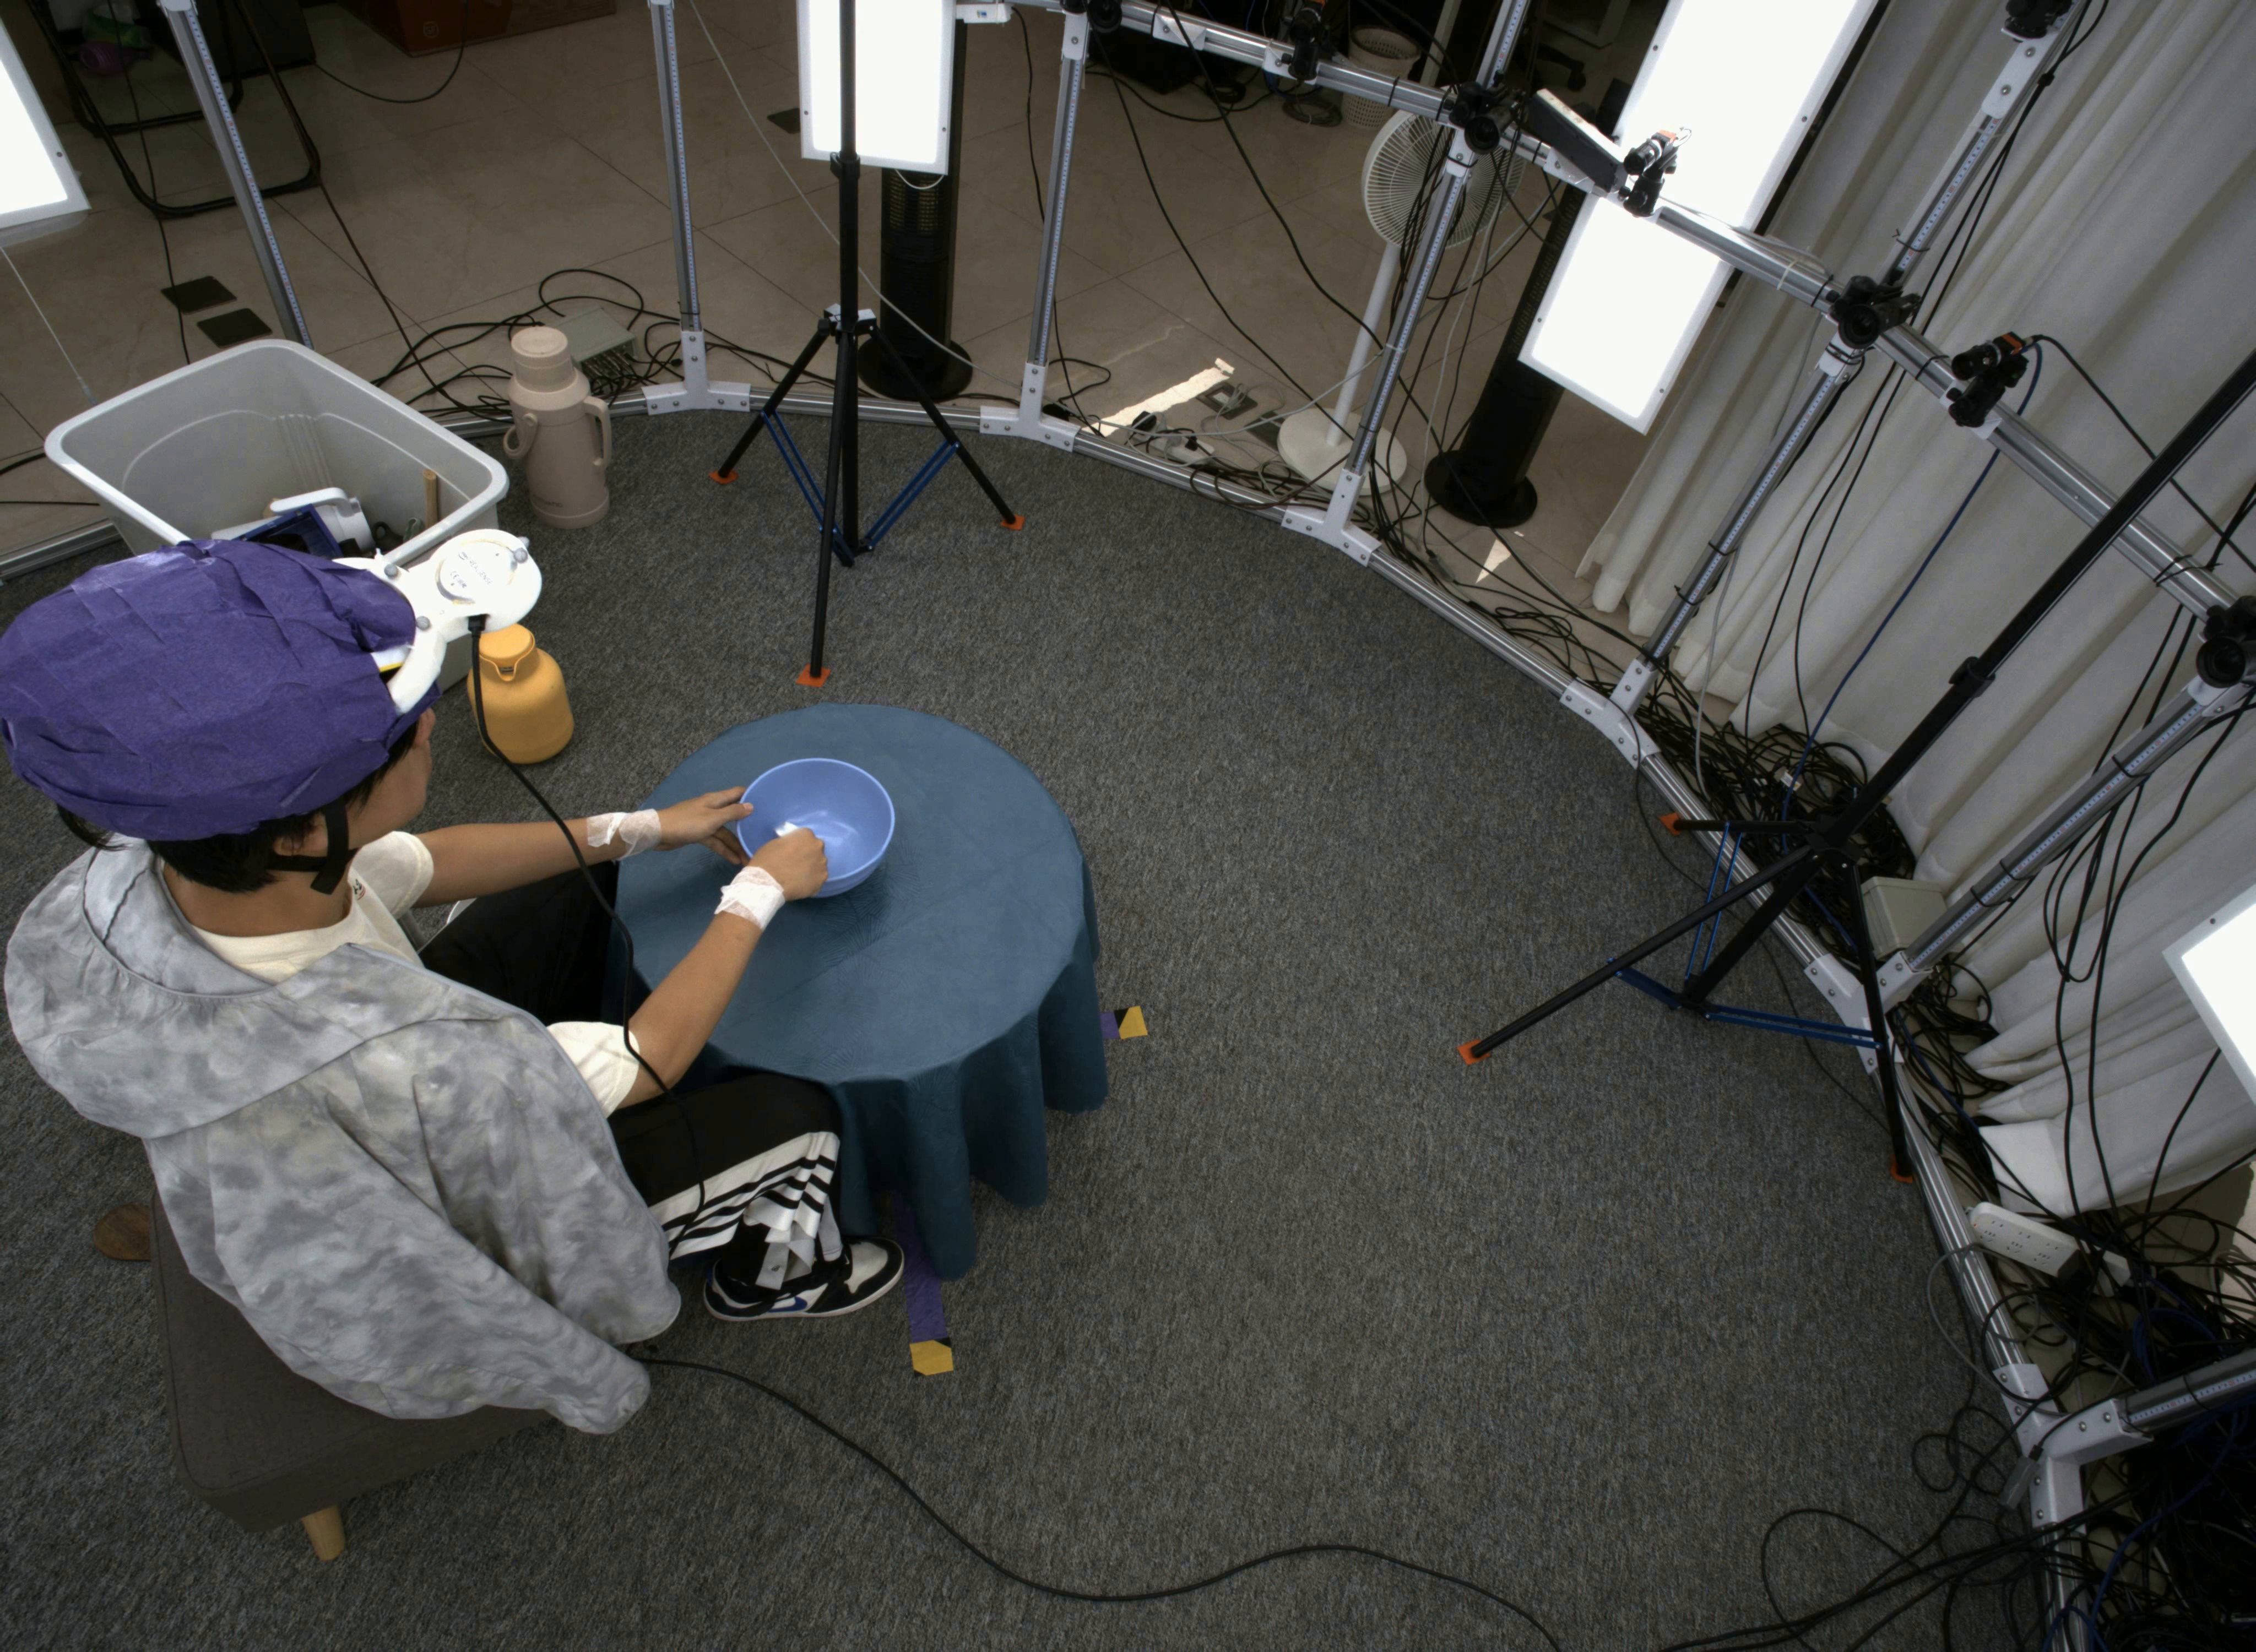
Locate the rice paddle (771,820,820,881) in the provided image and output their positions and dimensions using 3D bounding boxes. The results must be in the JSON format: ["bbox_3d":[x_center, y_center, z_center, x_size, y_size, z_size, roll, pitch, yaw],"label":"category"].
[{"bbox_3d":[-0.415,0.023,1.607,0.070,0.029,0.200,29,7,-17],"label":"rice paddle"}]

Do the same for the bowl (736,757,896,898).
[{"bbox_3d":[-0.397,0.016,1.657,0.196,0.097,0.193,9,51,-9],"label":"bowl"}]
